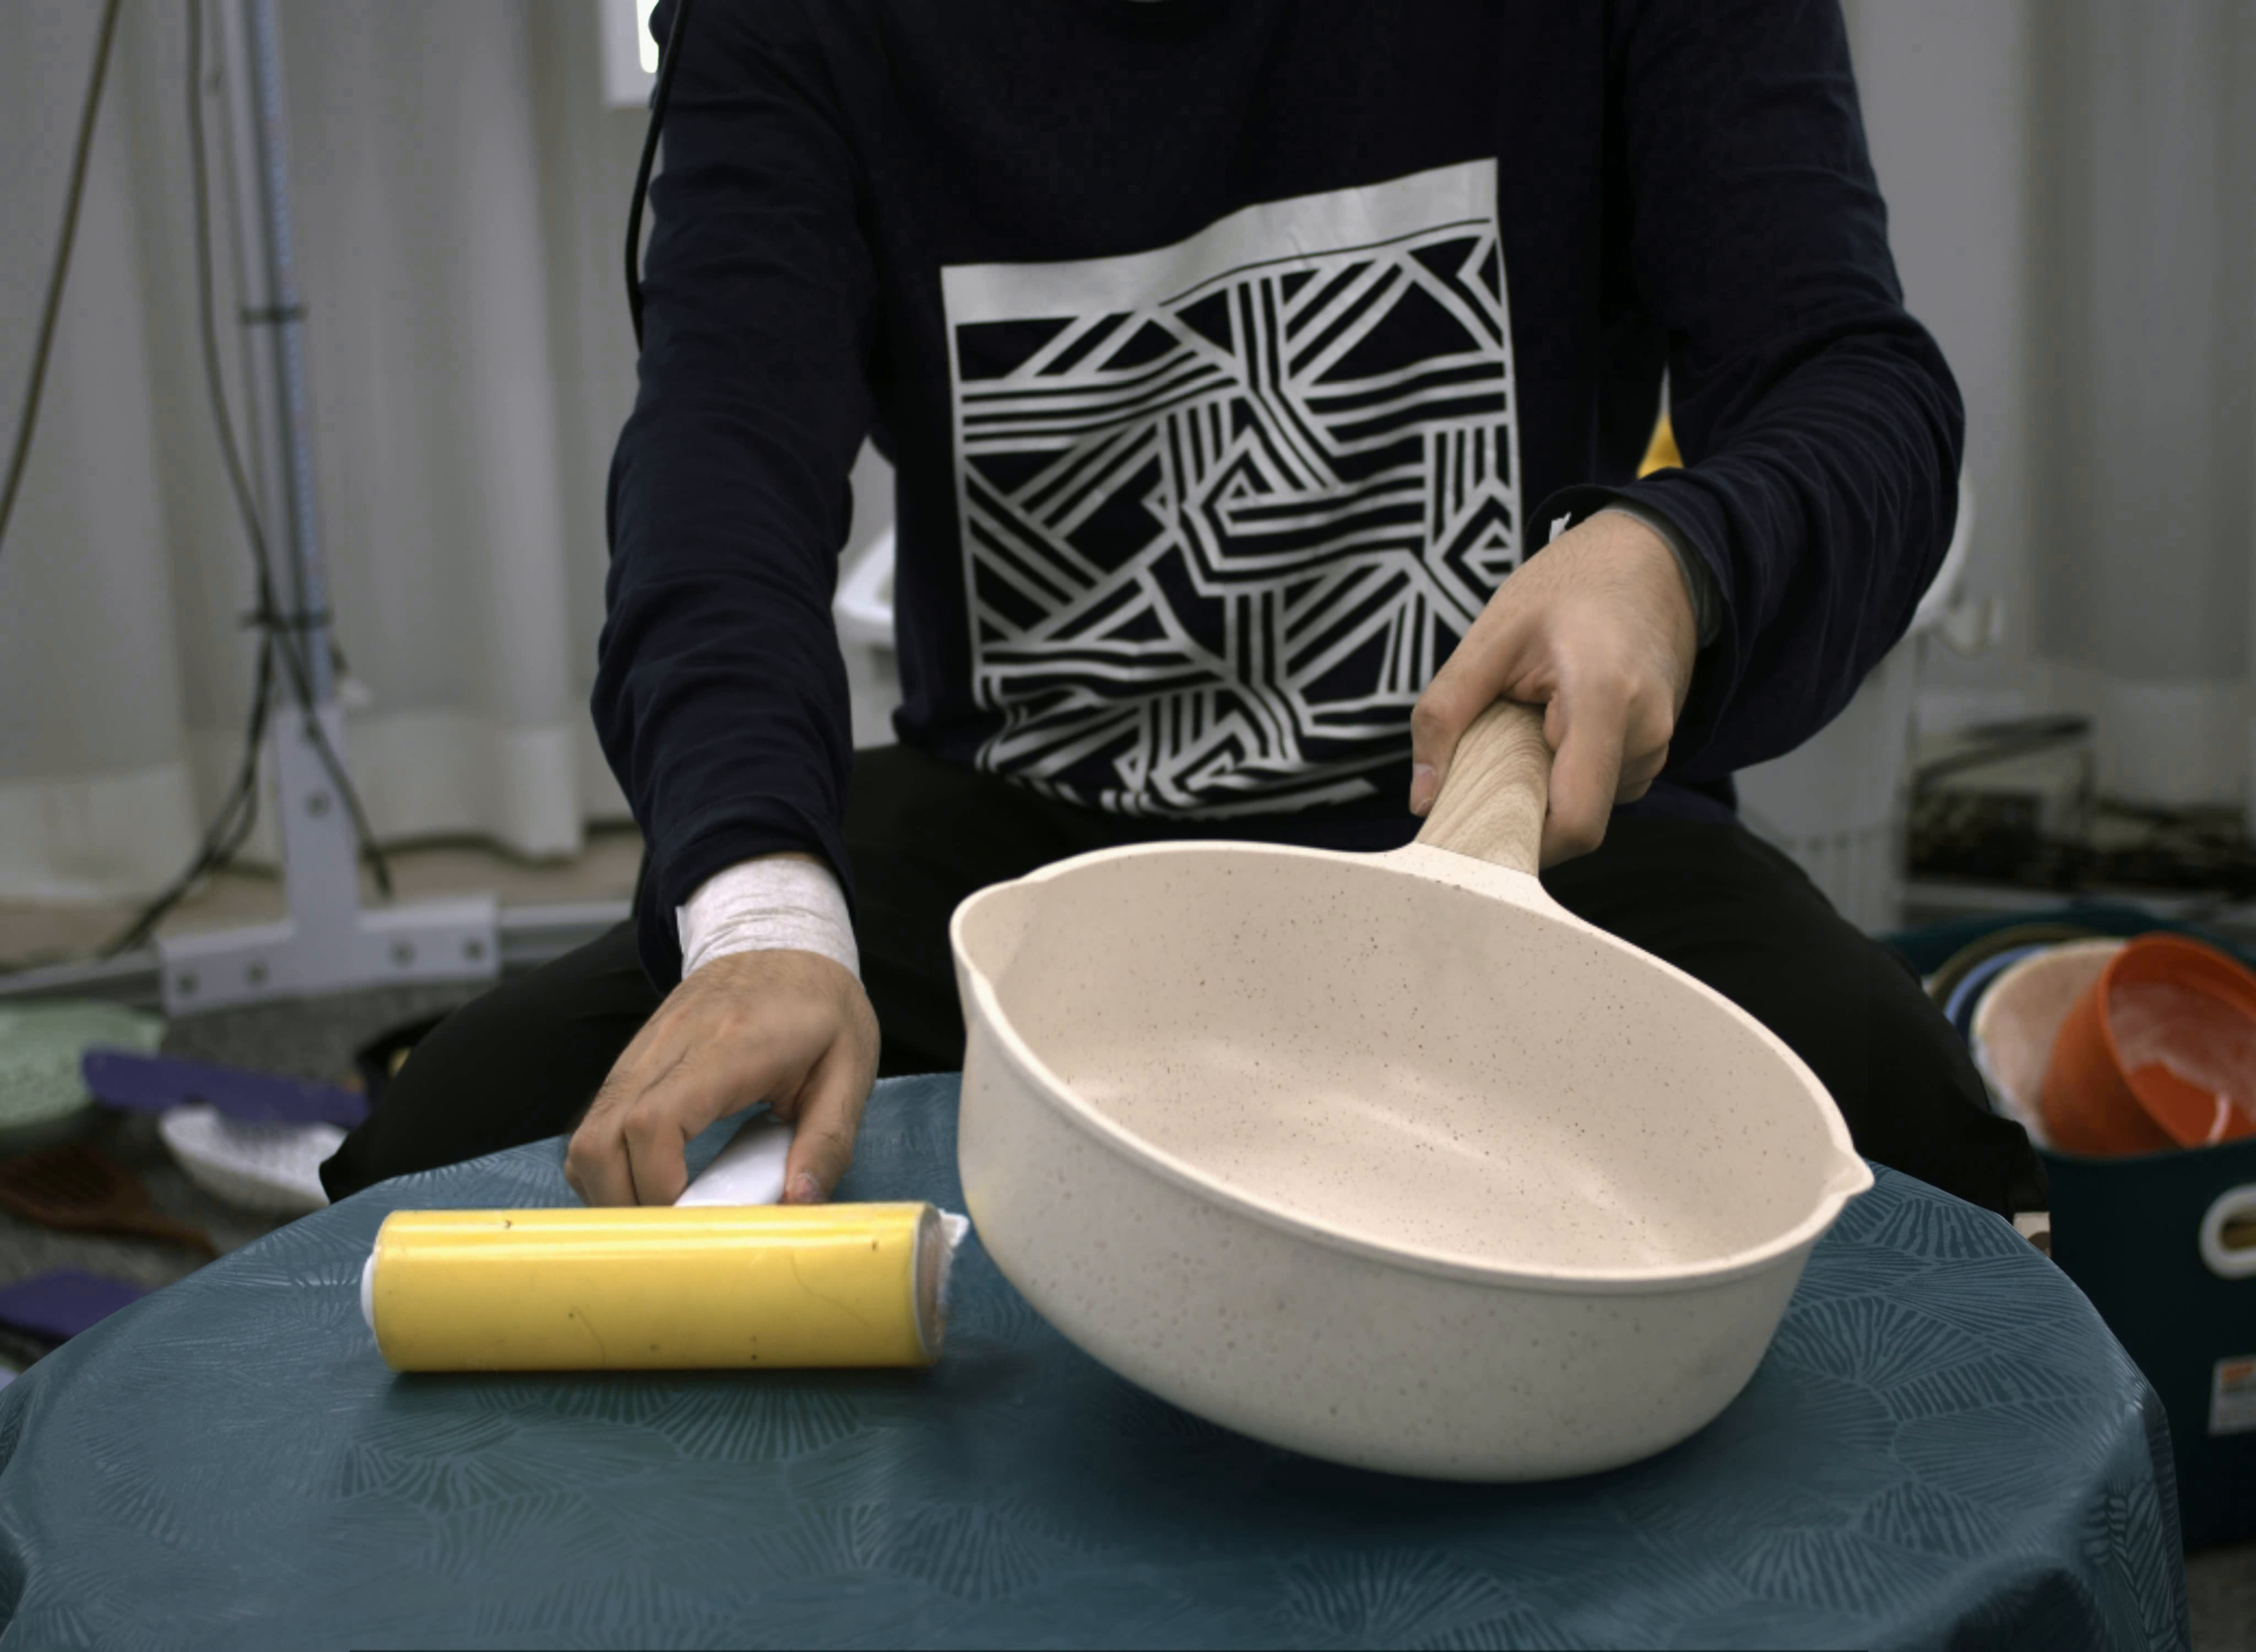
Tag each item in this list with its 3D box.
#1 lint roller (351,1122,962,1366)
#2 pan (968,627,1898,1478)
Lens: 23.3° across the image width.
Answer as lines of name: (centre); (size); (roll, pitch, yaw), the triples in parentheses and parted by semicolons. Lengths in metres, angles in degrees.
lint roller: (-0.126, 0.110, 1.641); (0.174, 0.051, 0.193); (-2, 19, 10)
pan: (0.092, 0.057, 1.597); (0.263, 0.101, 0.438); (14, 22, 5)
